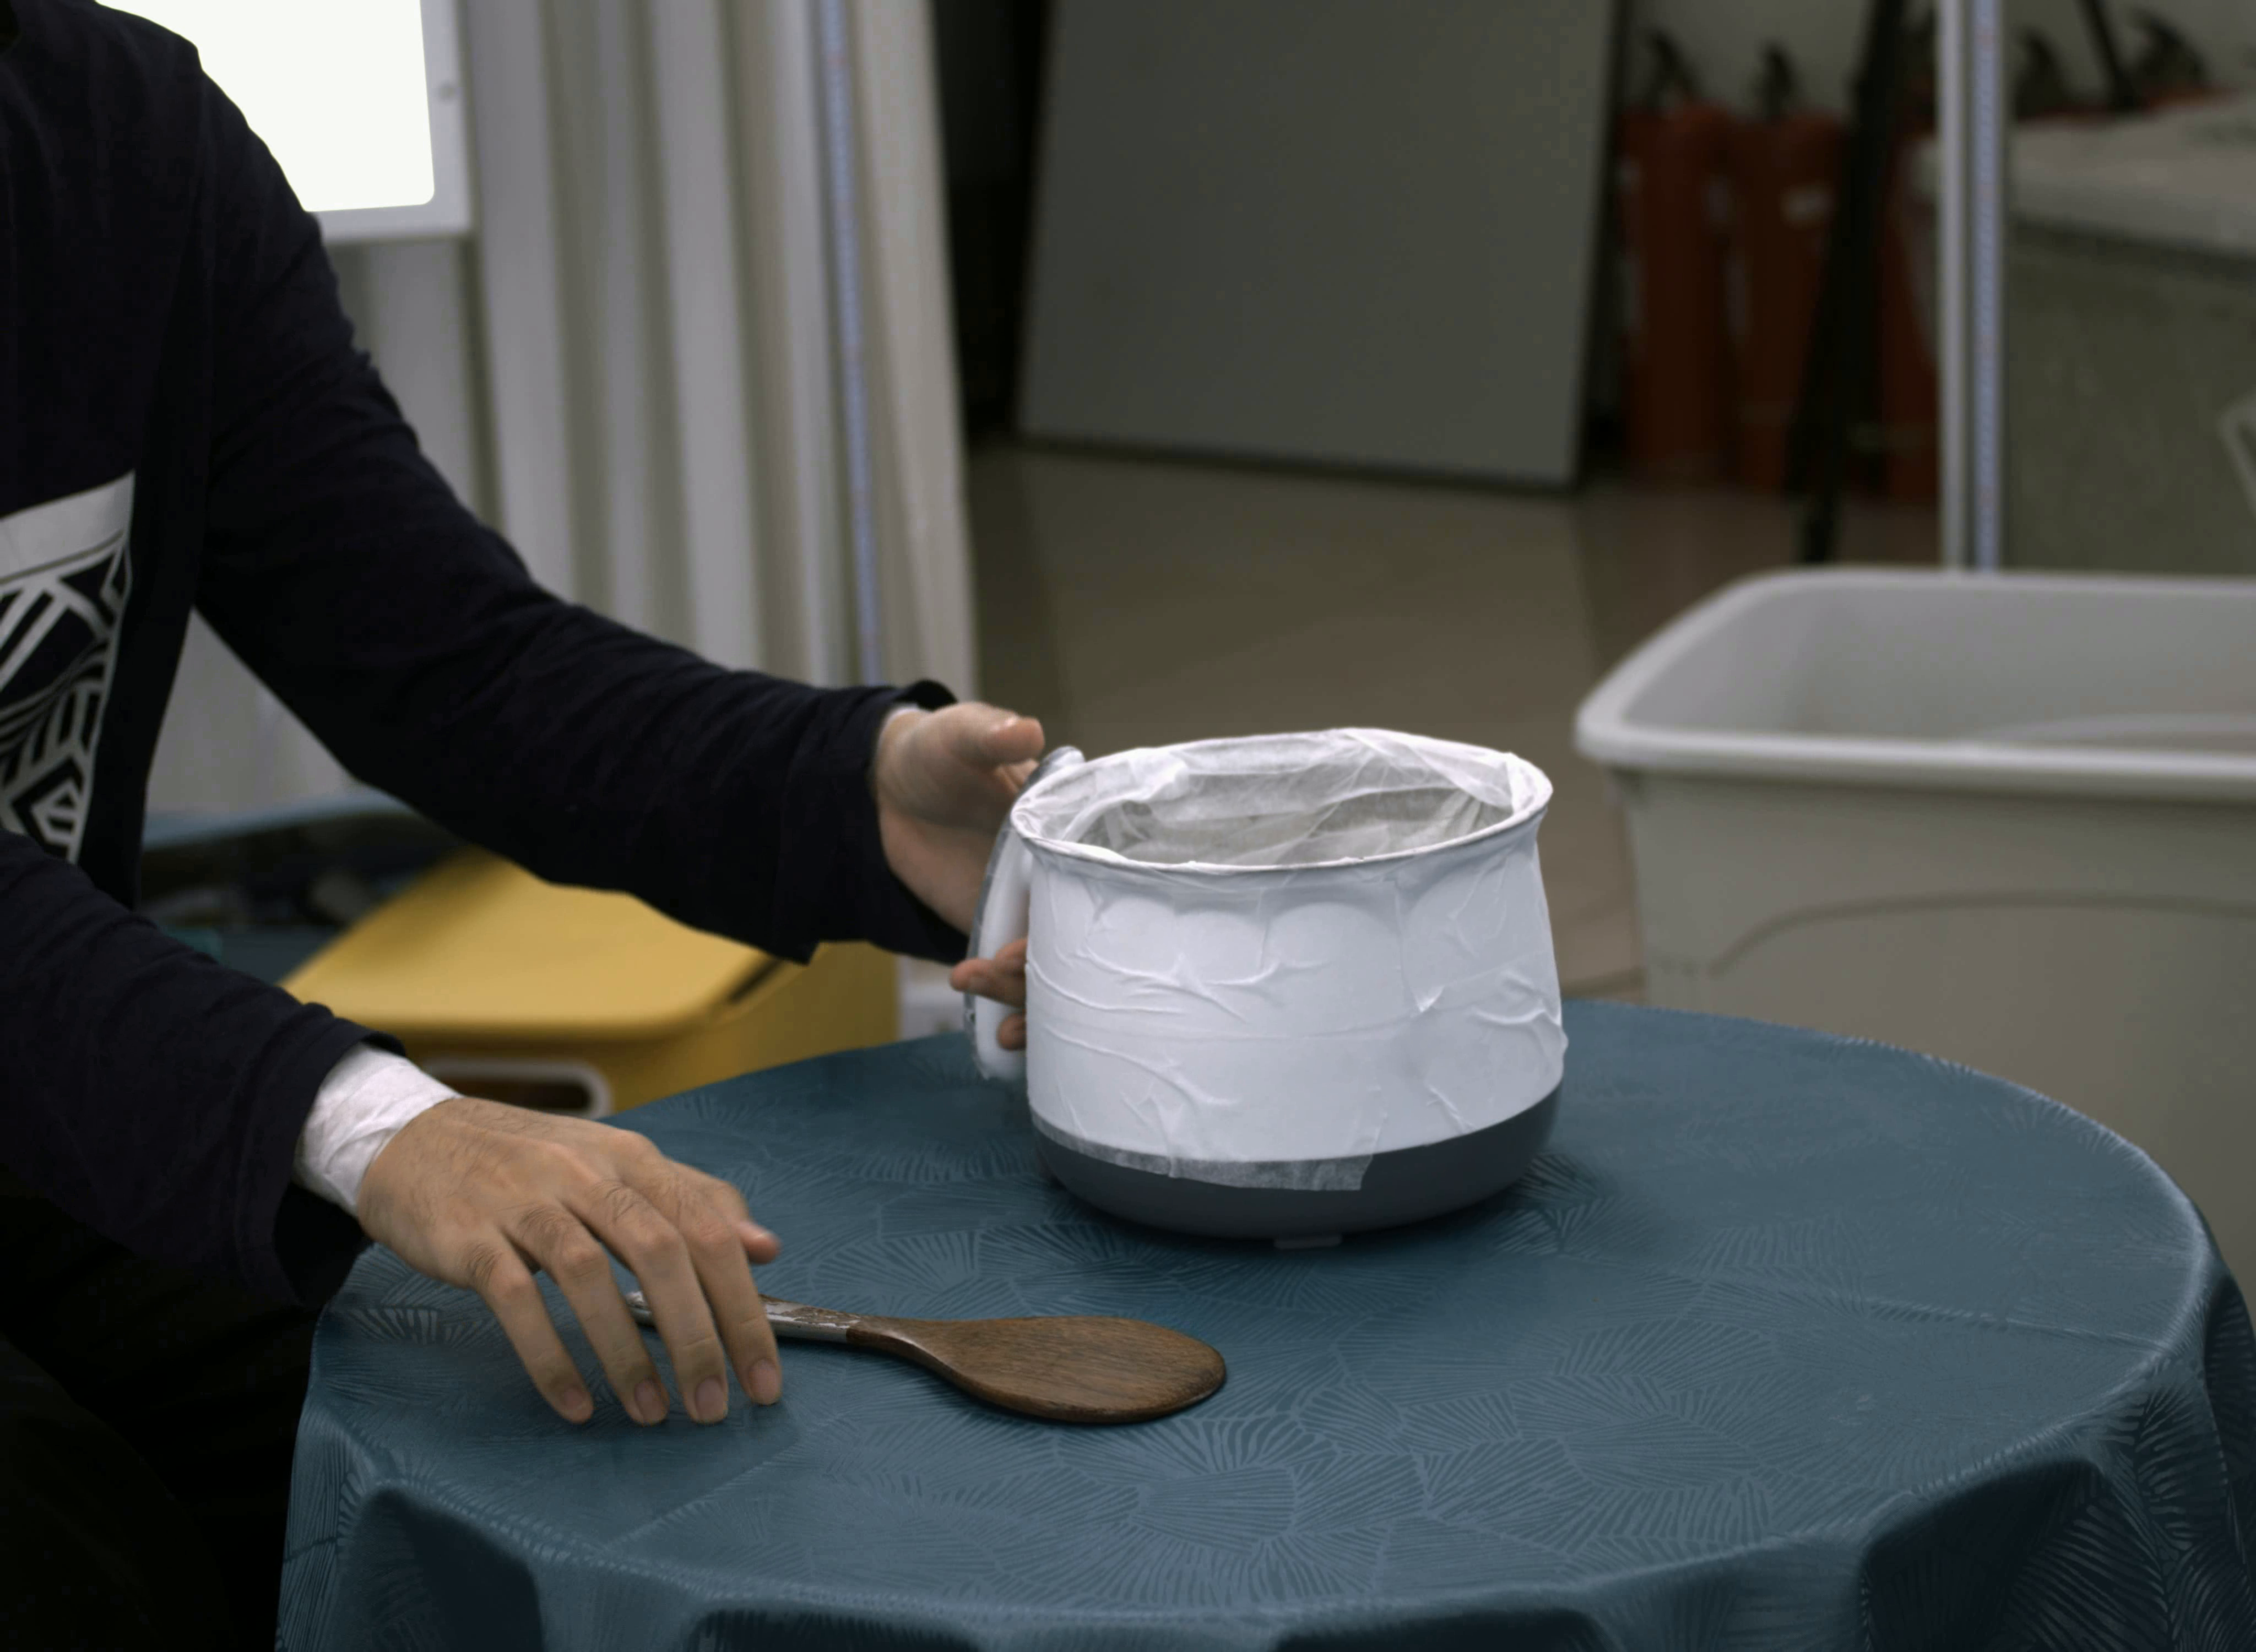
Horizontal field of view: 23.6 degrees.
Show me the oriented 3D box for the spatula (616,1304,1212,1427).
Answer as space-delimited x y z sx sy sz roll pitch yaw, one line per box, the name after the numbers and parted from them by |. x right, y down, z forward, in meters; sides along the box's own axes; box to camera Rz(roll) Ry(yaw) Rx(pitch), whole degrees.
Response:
-0.067 0.158 1.632 0.217 0.009 0.070 4 14 35 | spatula

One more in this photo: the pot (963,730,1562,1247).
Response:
0.033 0.047 1.773 0.236 0.138 0.175 10 17 43 | pot
